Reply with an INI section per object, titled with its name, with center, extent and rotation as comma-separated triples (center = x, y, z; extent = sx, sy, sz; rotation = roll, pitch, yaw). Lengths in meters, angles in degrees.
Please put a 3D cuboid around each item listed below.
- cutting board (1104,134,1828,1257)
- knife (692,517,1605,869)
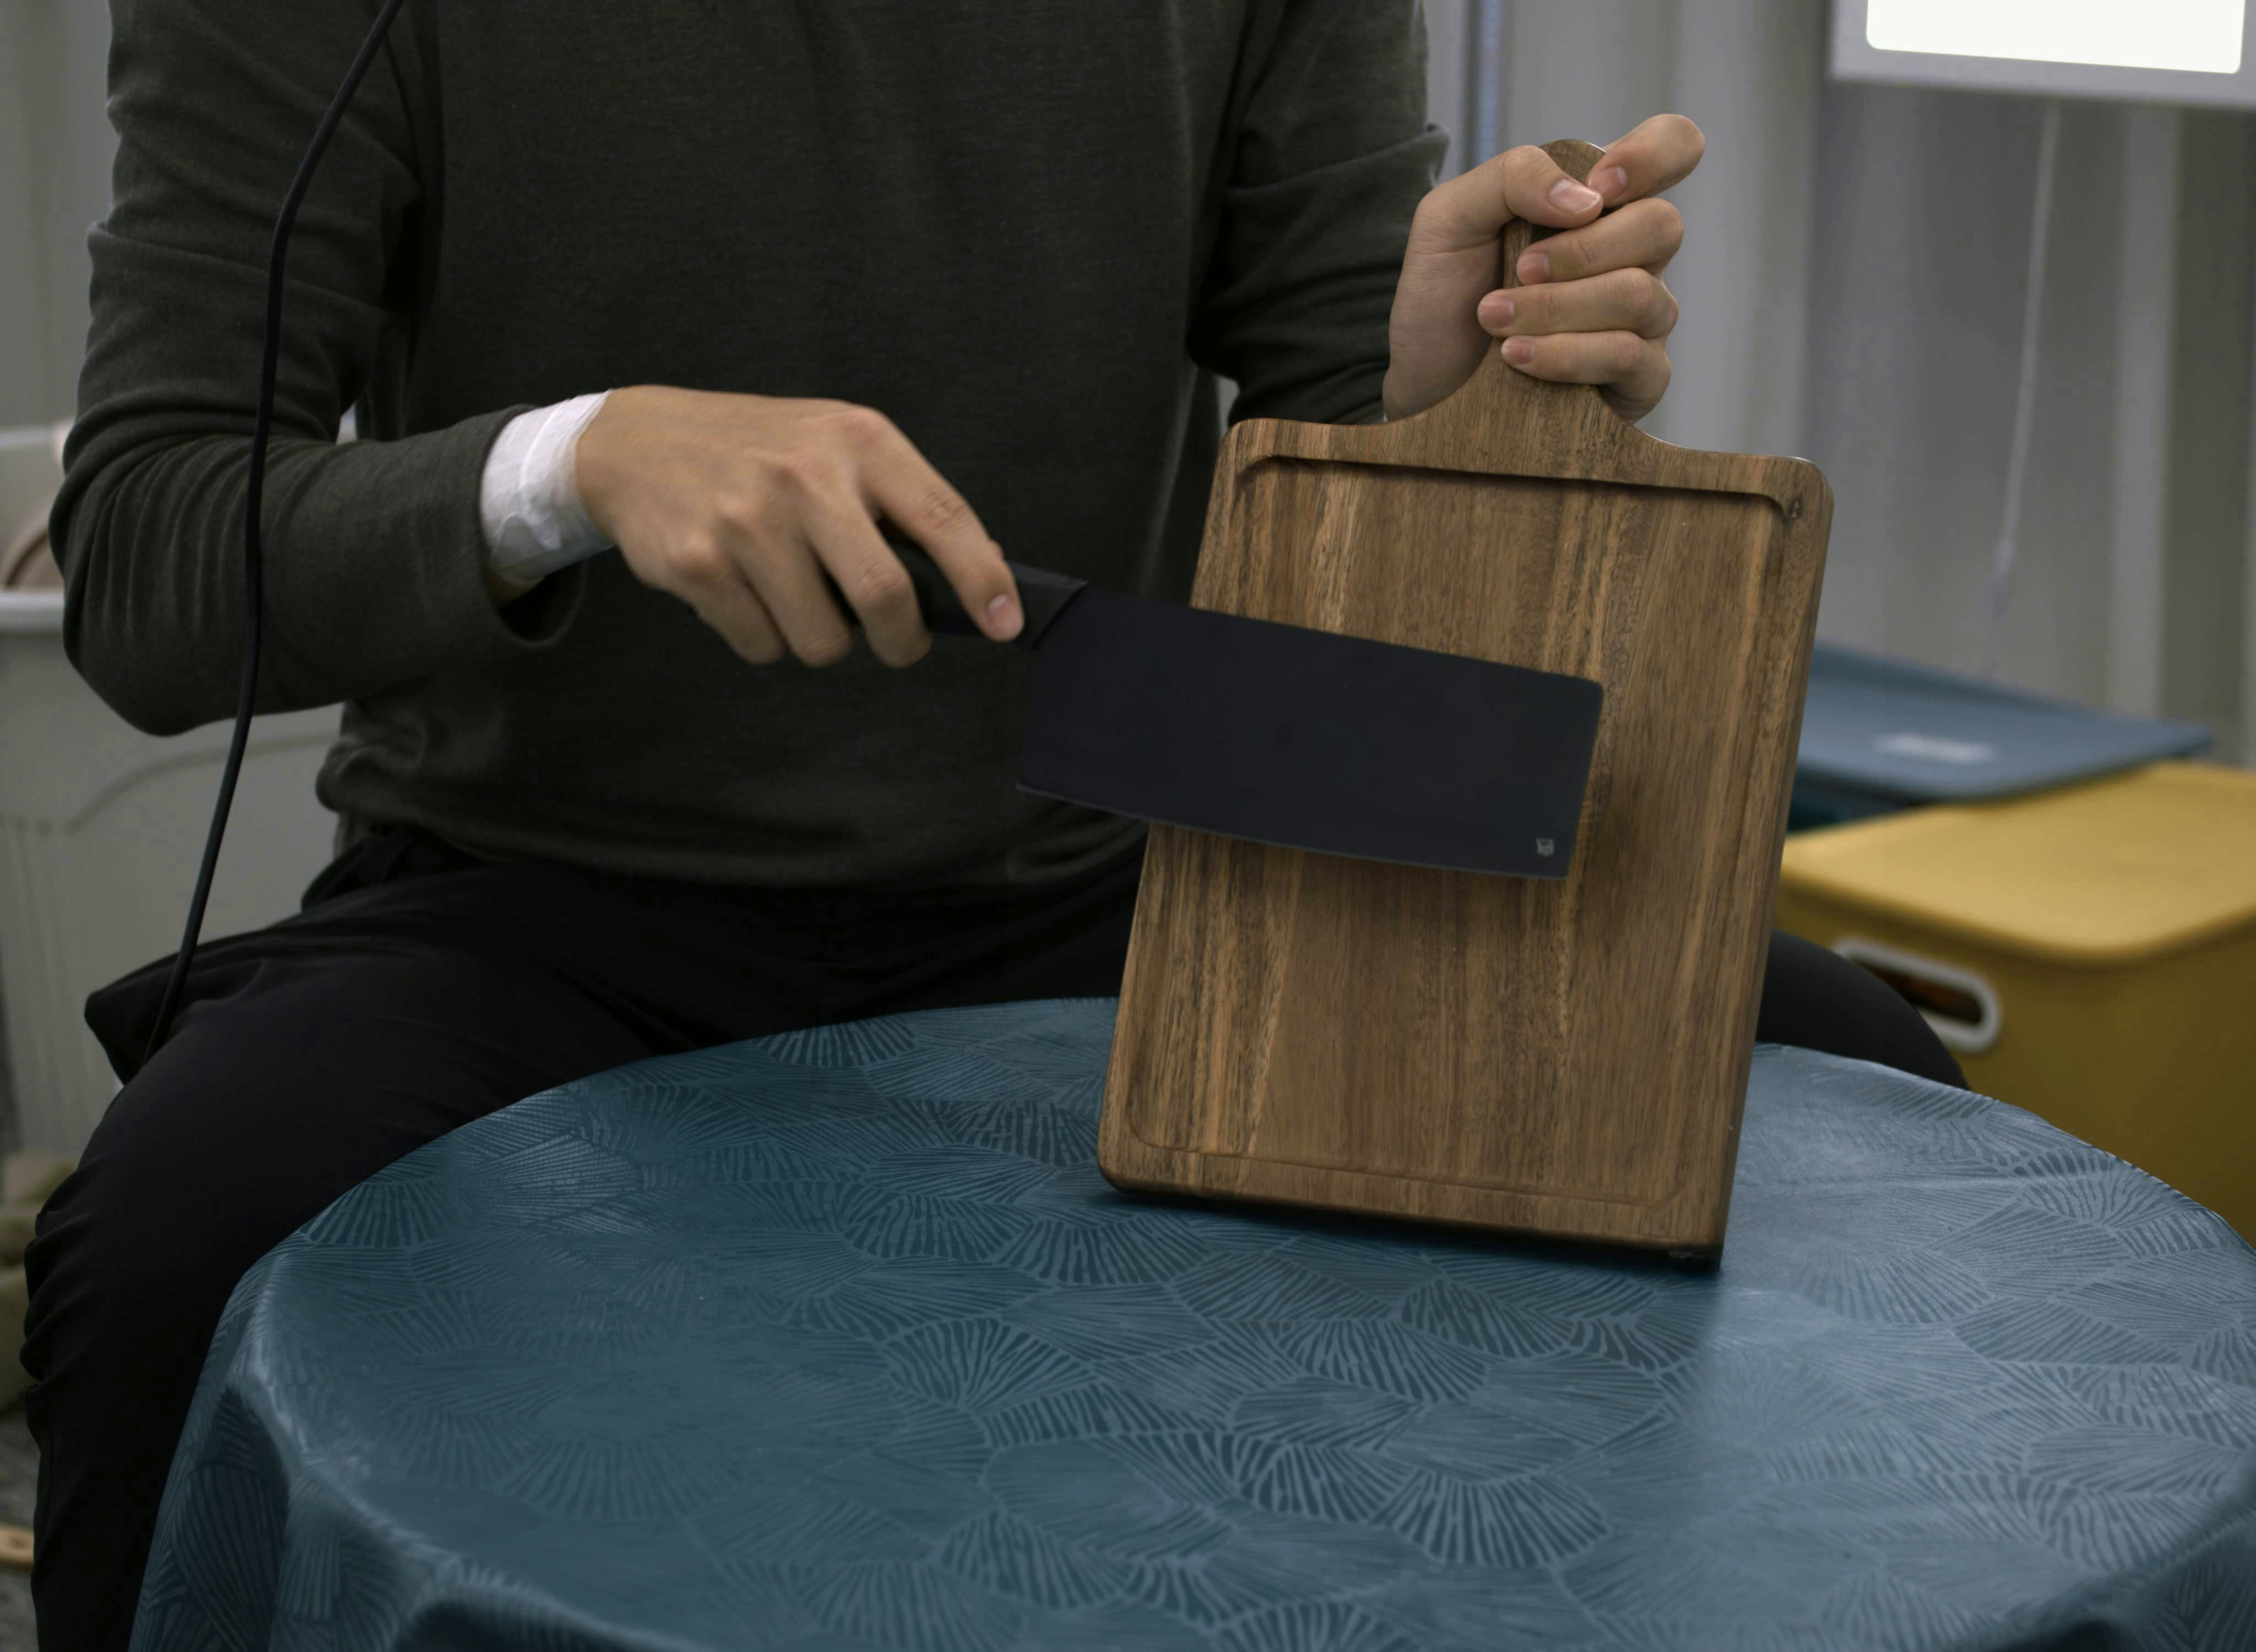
[cutting board]
center = 0.111, -0.047, 1.625
extent = 0.199, 0.352, 0.023
rotation = 5, -14, 17
[knife]
center = 0.001, -0.045, 1.613
extent = 0.299, 0.081, 0.021
rotation = 16, 2, 20
